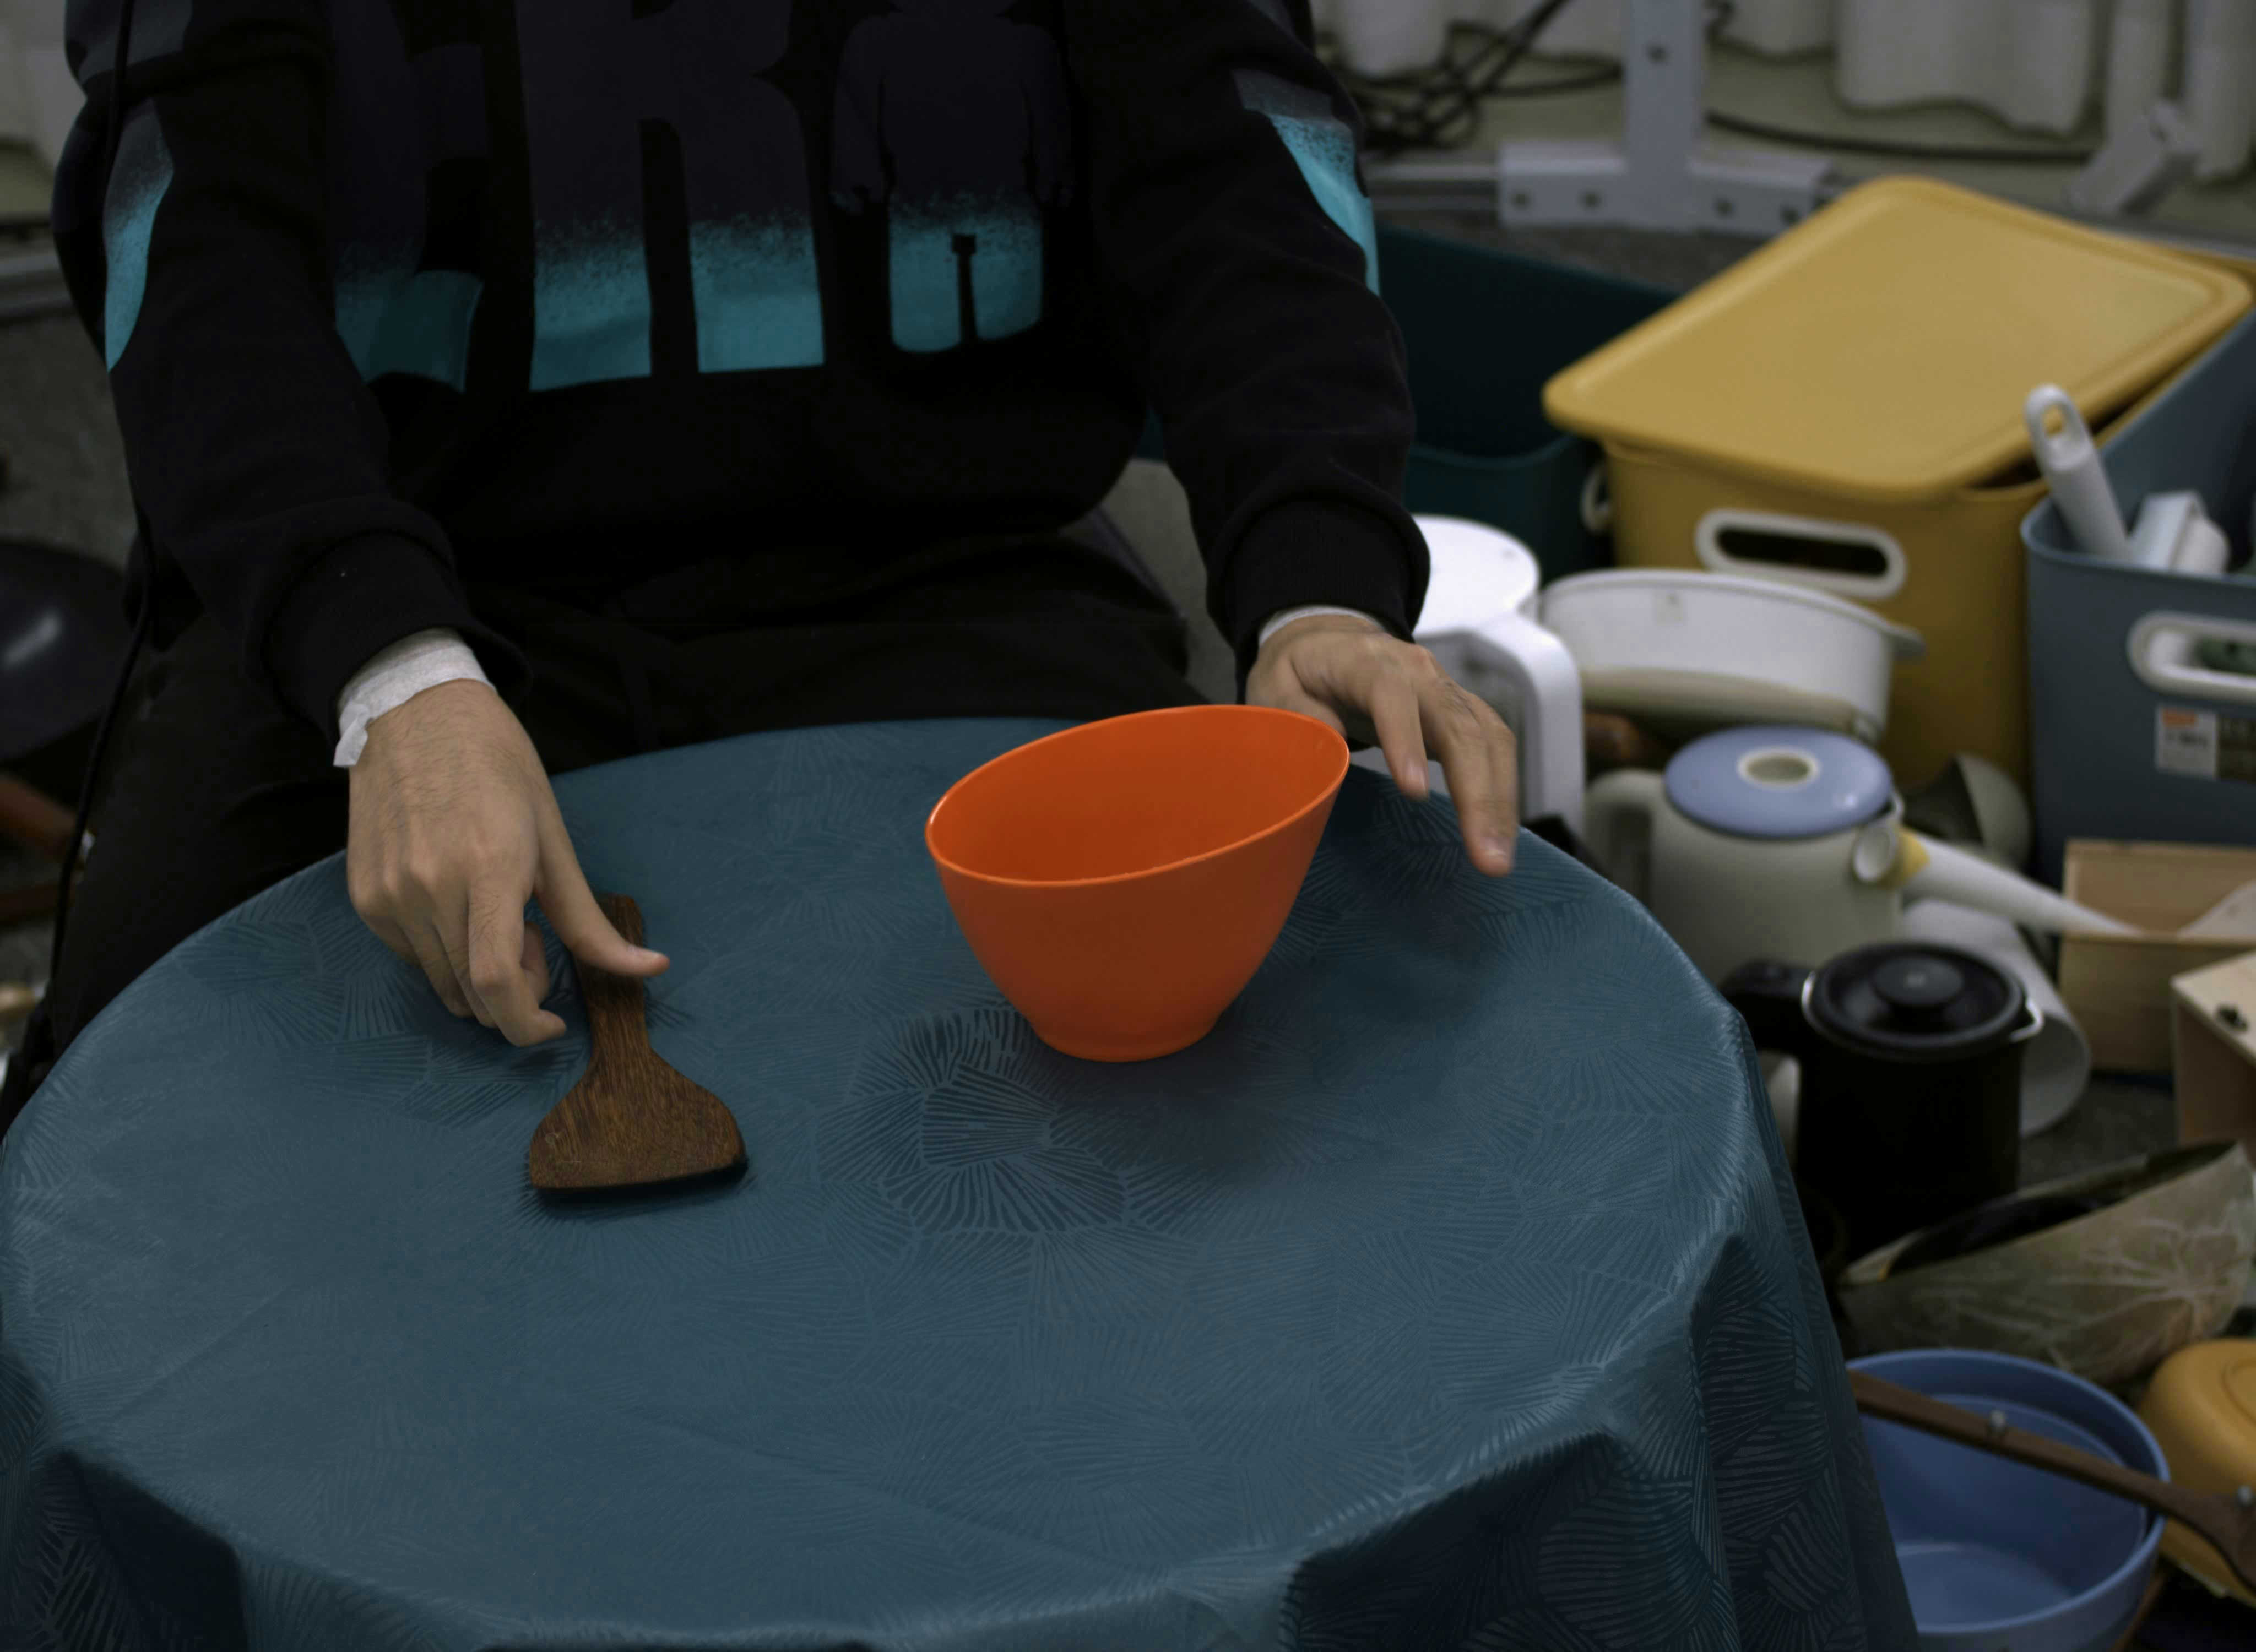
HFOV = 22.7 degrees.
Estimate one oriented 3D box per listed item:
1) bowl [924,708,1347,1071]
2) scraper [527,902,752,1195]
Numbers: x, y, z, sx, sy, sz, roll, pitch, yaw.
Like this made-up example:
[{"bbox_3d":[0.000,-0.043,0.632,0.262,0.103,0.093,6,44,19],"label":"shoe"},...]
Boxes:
[{"bbox_3d":[0.005,0.026,1.938,0.147,0.103,0.150,-4,27,2],"label":"bowl"},{"bbox_3d":[-0.176,0.077,1.958,0.075,0.011,0.214,-5,27,-7],"label":"scraper"}]
